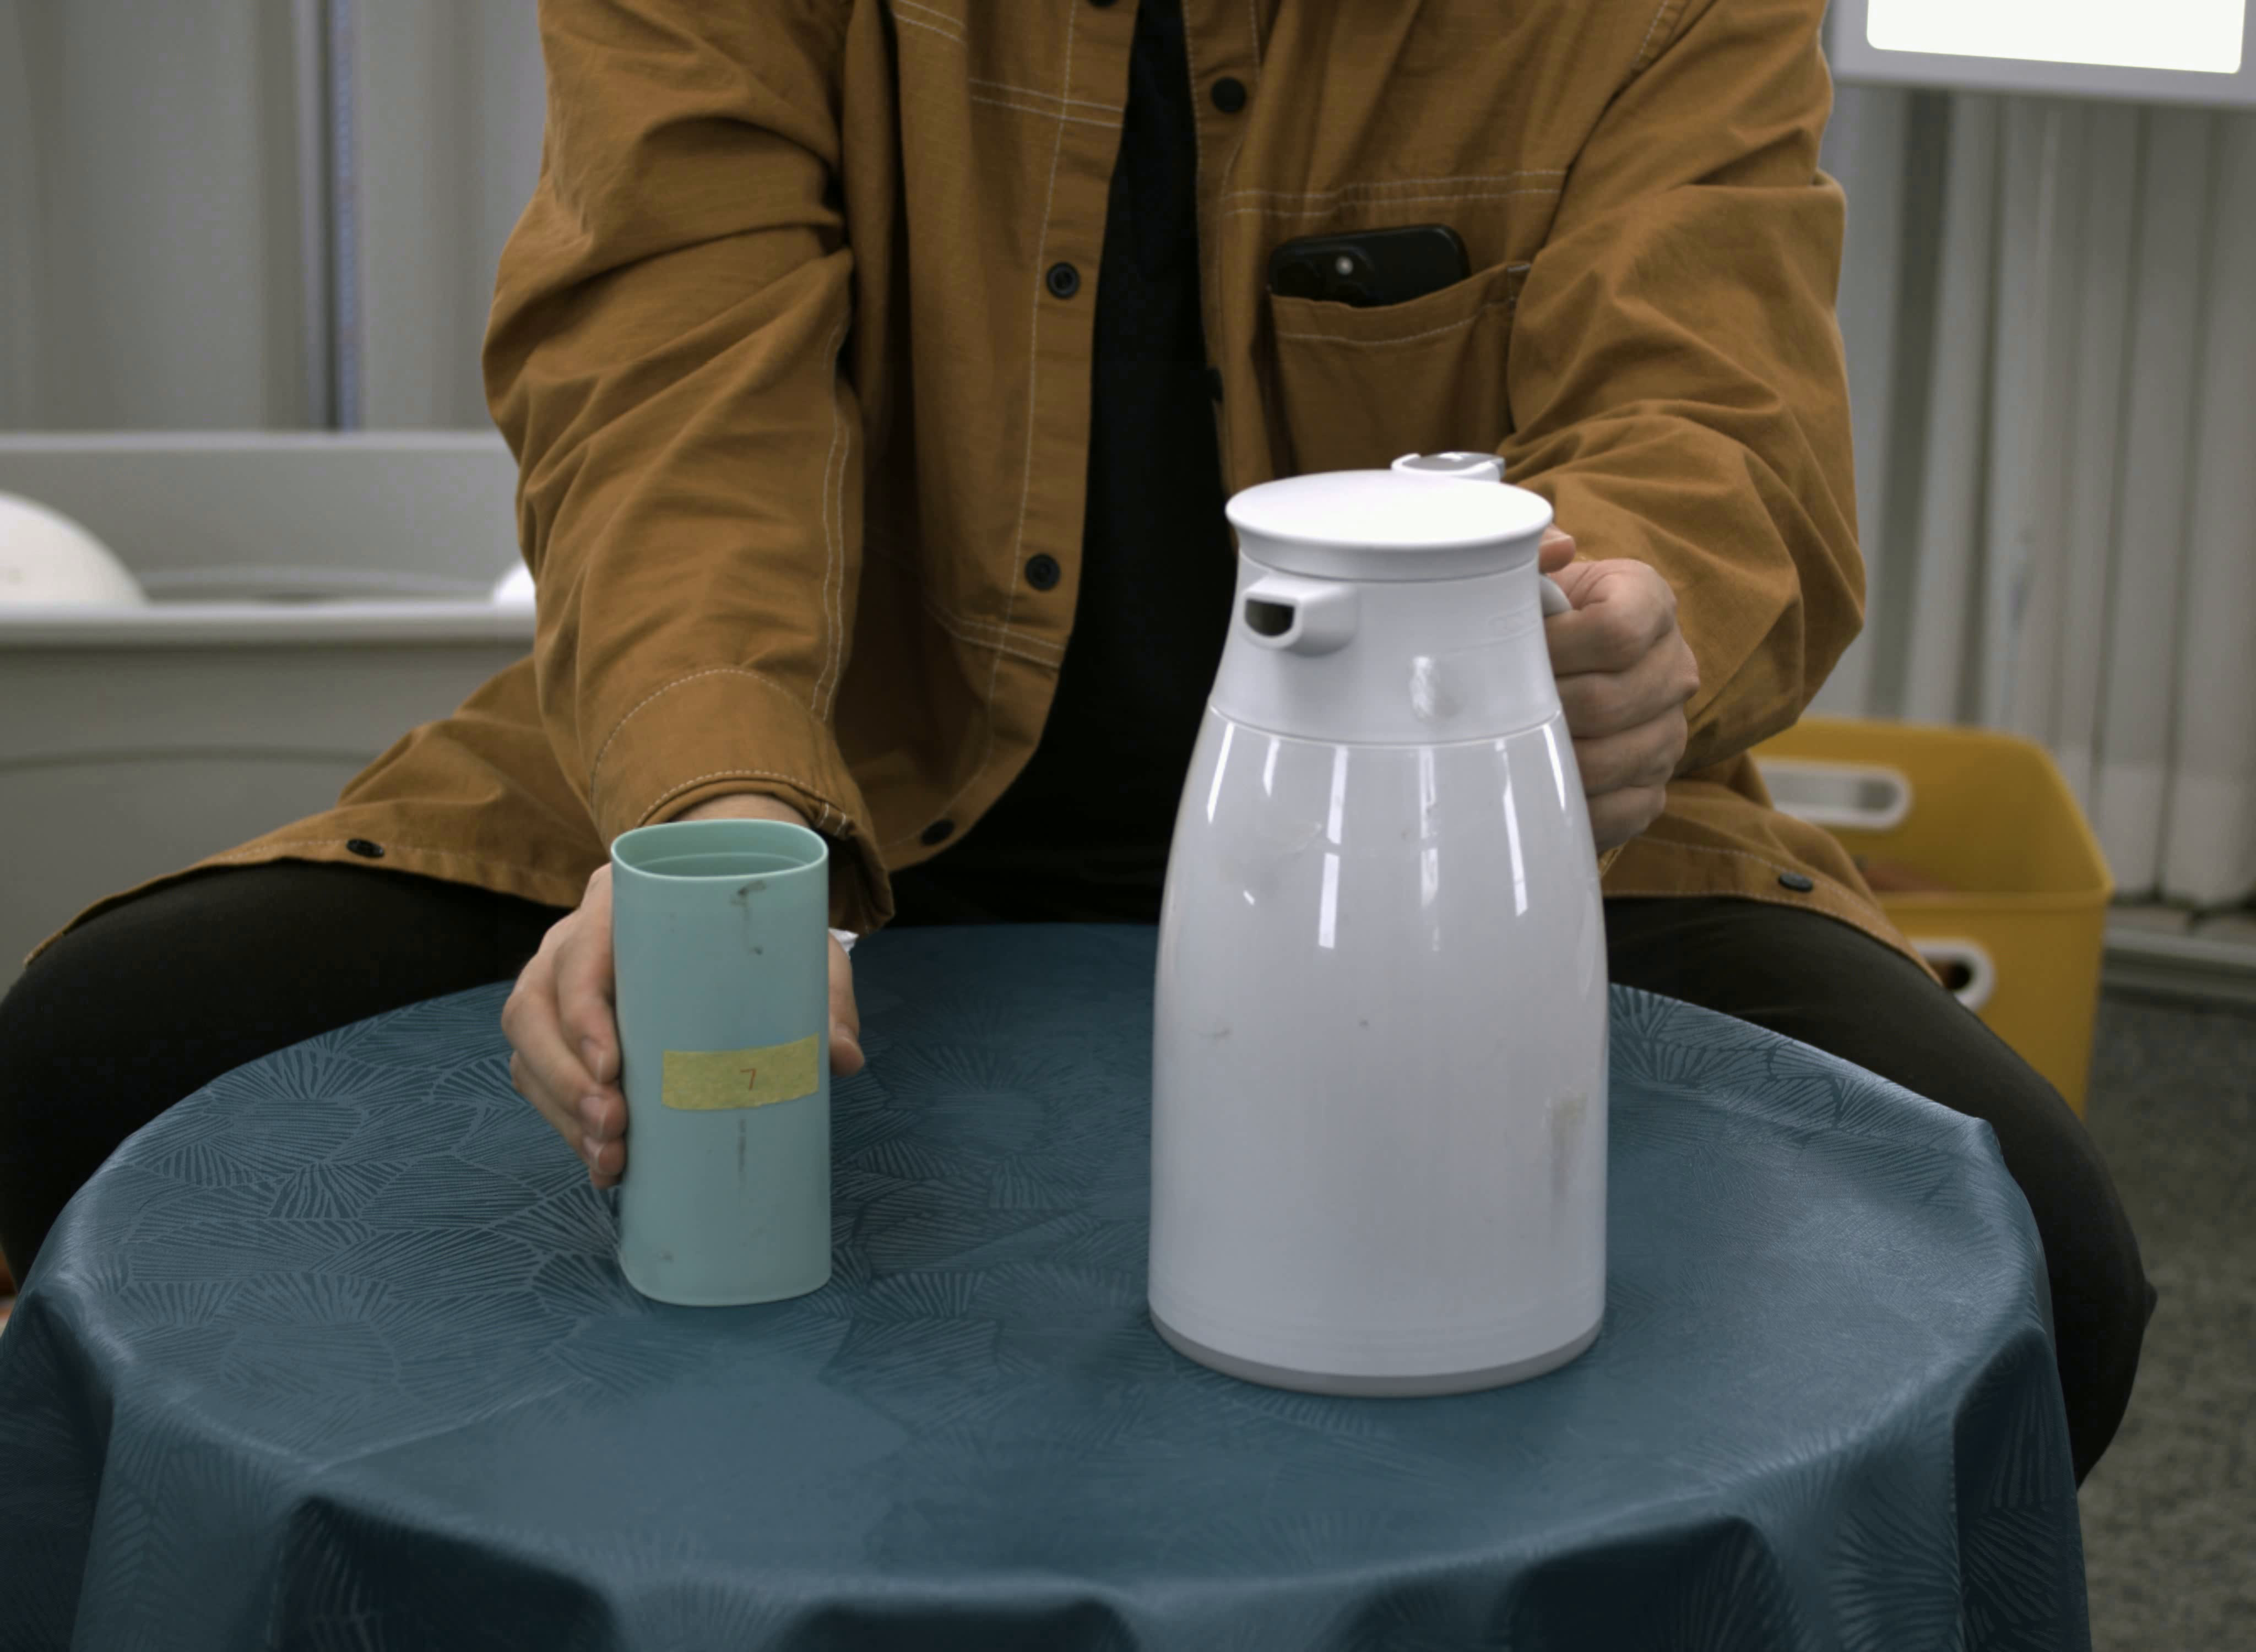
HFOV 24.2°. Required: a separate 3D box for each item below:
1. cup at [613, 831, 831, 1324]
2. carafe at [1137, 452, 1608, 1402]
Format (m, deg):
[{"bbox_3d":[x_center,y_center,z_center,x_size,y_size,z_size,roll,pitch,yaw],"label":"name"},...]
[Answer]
[{"bbox_3d":[-0.118,0.072,1.533,0.066,0.133,0.066,1,16,0],"label":"cup"},{"bbox_3d":[0.082,0.019,1.502,0.131,0.250,0.168,12,19,32],"label":"carafe"}]
